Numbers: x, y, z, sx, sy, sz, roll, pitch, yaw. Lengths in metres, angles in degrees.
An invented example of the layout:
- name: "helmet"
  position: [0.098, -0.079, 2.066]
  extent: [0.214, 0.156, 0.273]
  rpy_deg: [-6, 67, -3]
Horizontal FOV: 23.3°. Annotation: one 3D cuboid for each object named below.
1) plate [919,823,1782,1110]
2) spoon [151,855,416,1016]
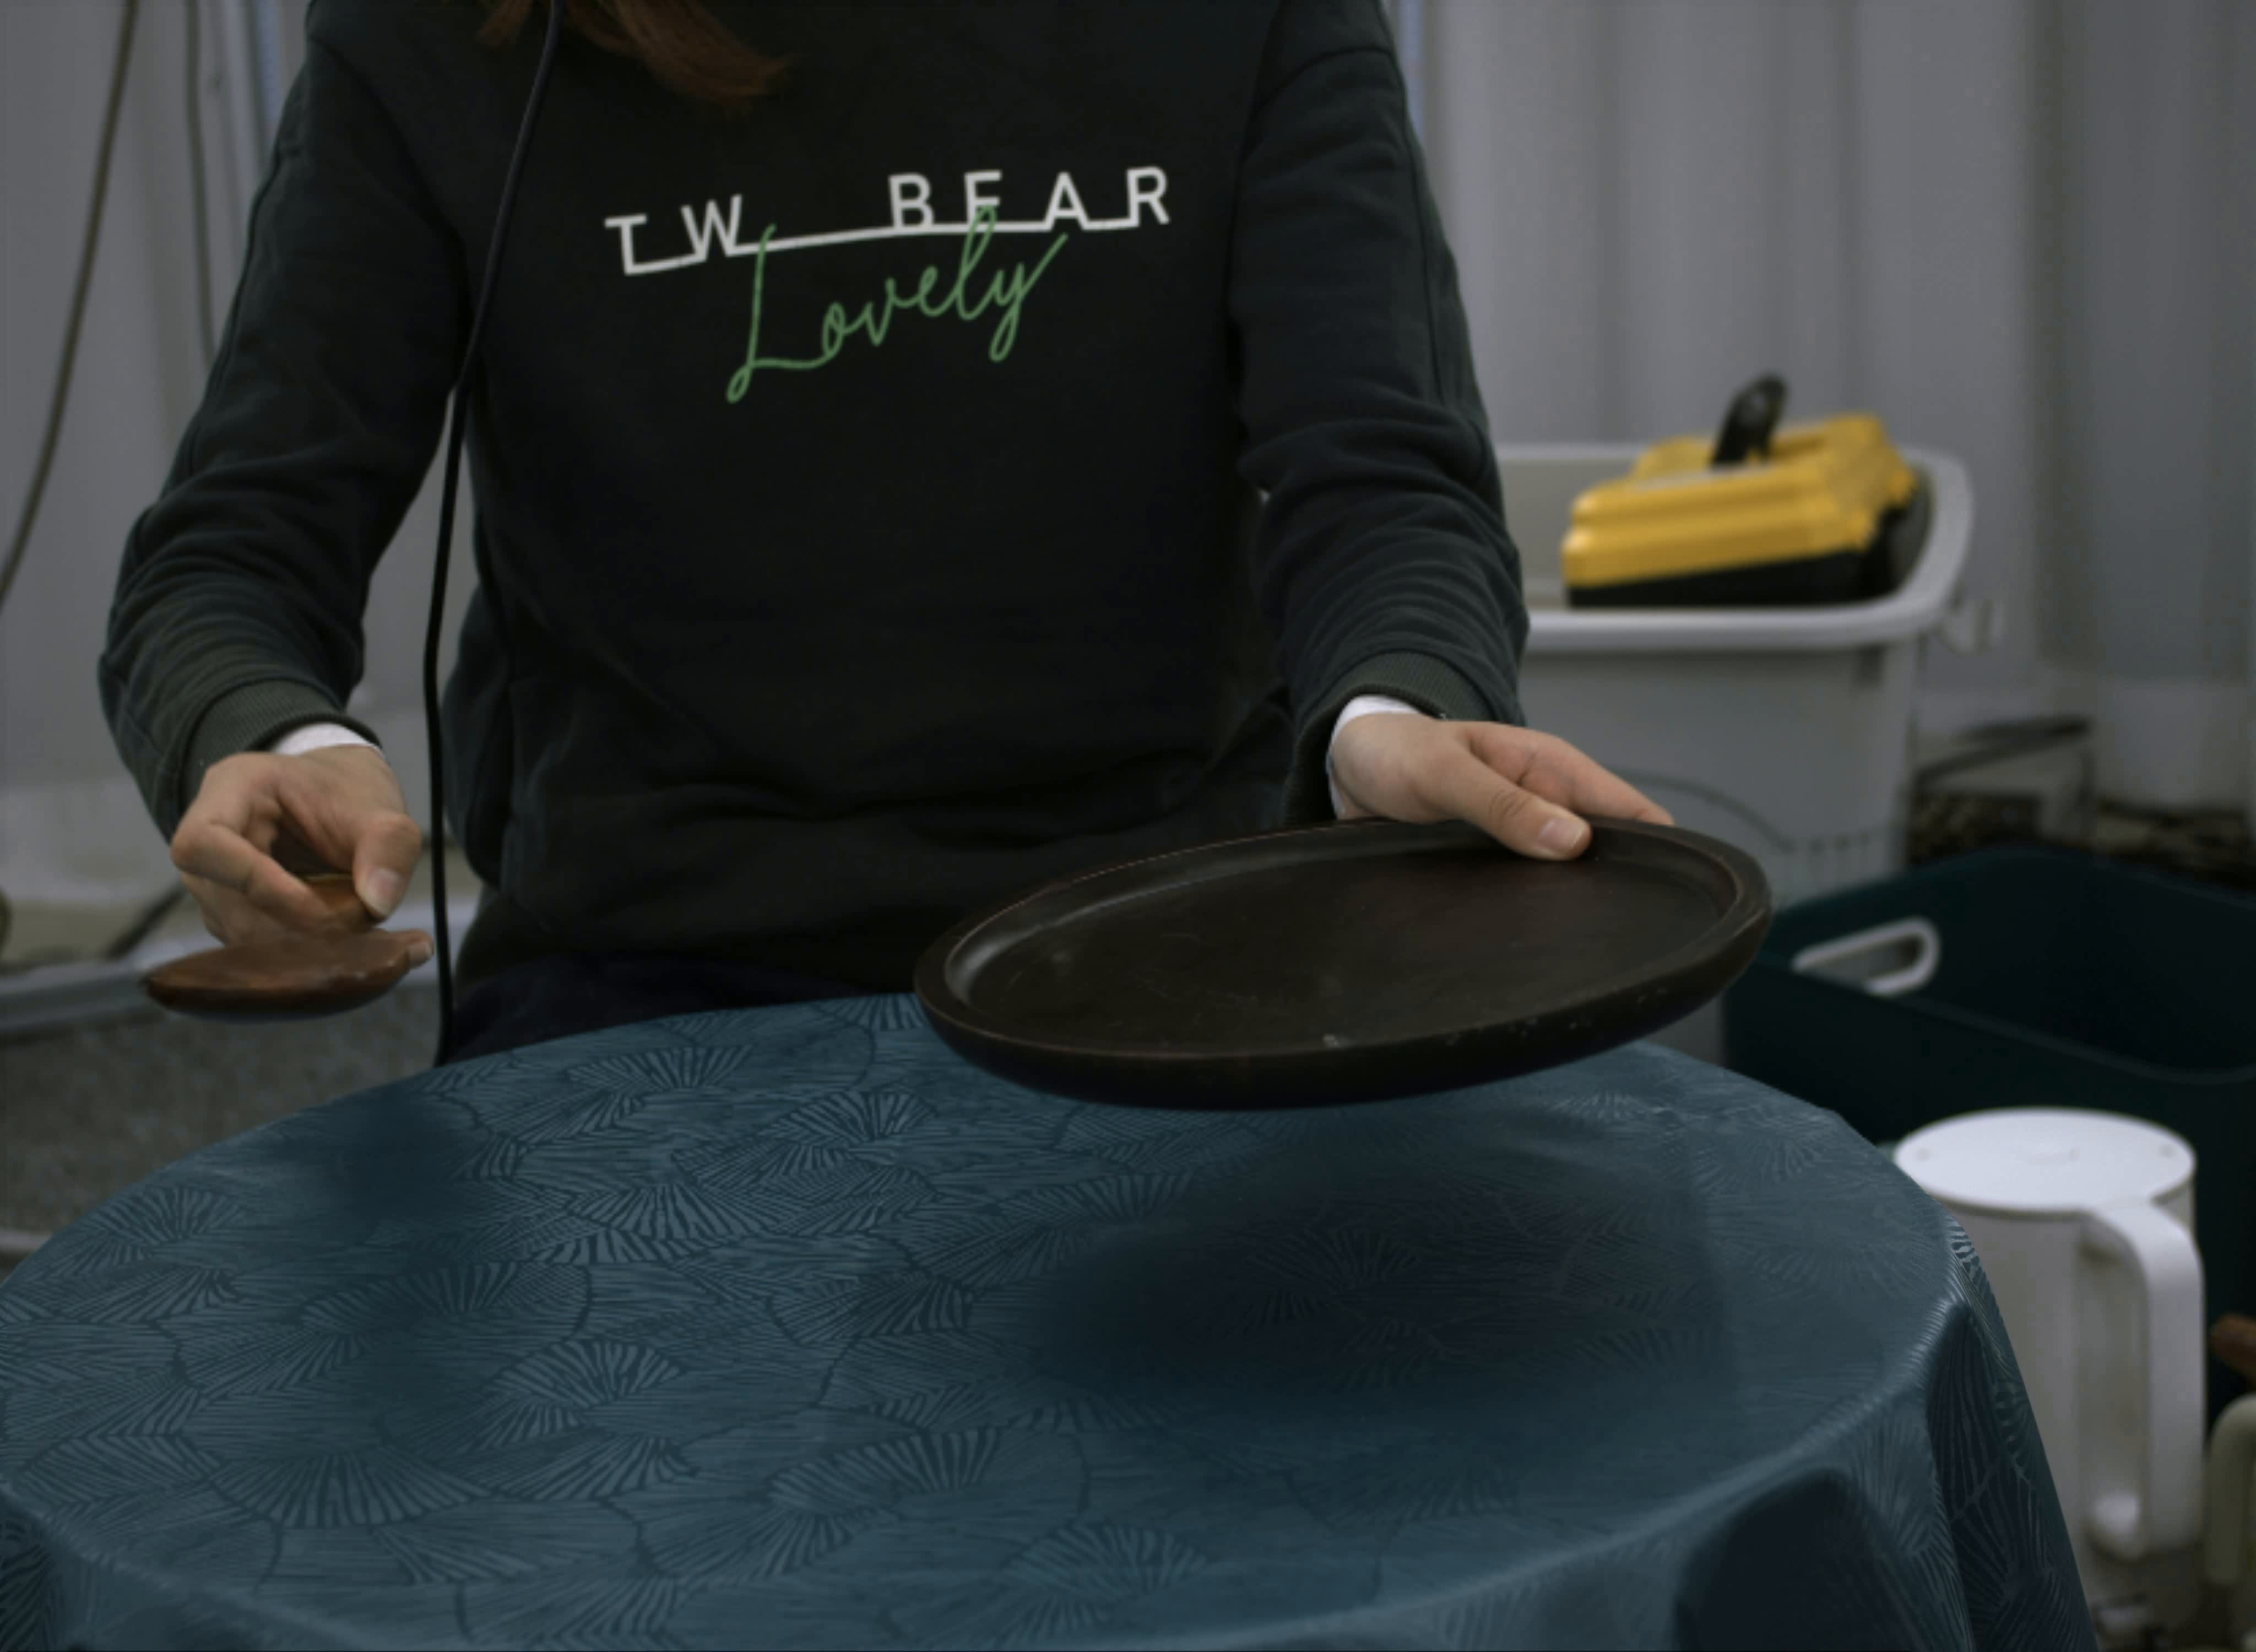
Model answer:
- name: "plate"
  position: [0.065, 0.038, 1.601]
  extent: [0.254, 0.029, 0.256]
  rpy_deg: [-6, 14, 1]
- name: "spoon"
  position: [-0.243, 0.033, 1.635]
  extent: [0.075, 0.017, 0.217]
  rpy_deg: [-4, 9, -1]
